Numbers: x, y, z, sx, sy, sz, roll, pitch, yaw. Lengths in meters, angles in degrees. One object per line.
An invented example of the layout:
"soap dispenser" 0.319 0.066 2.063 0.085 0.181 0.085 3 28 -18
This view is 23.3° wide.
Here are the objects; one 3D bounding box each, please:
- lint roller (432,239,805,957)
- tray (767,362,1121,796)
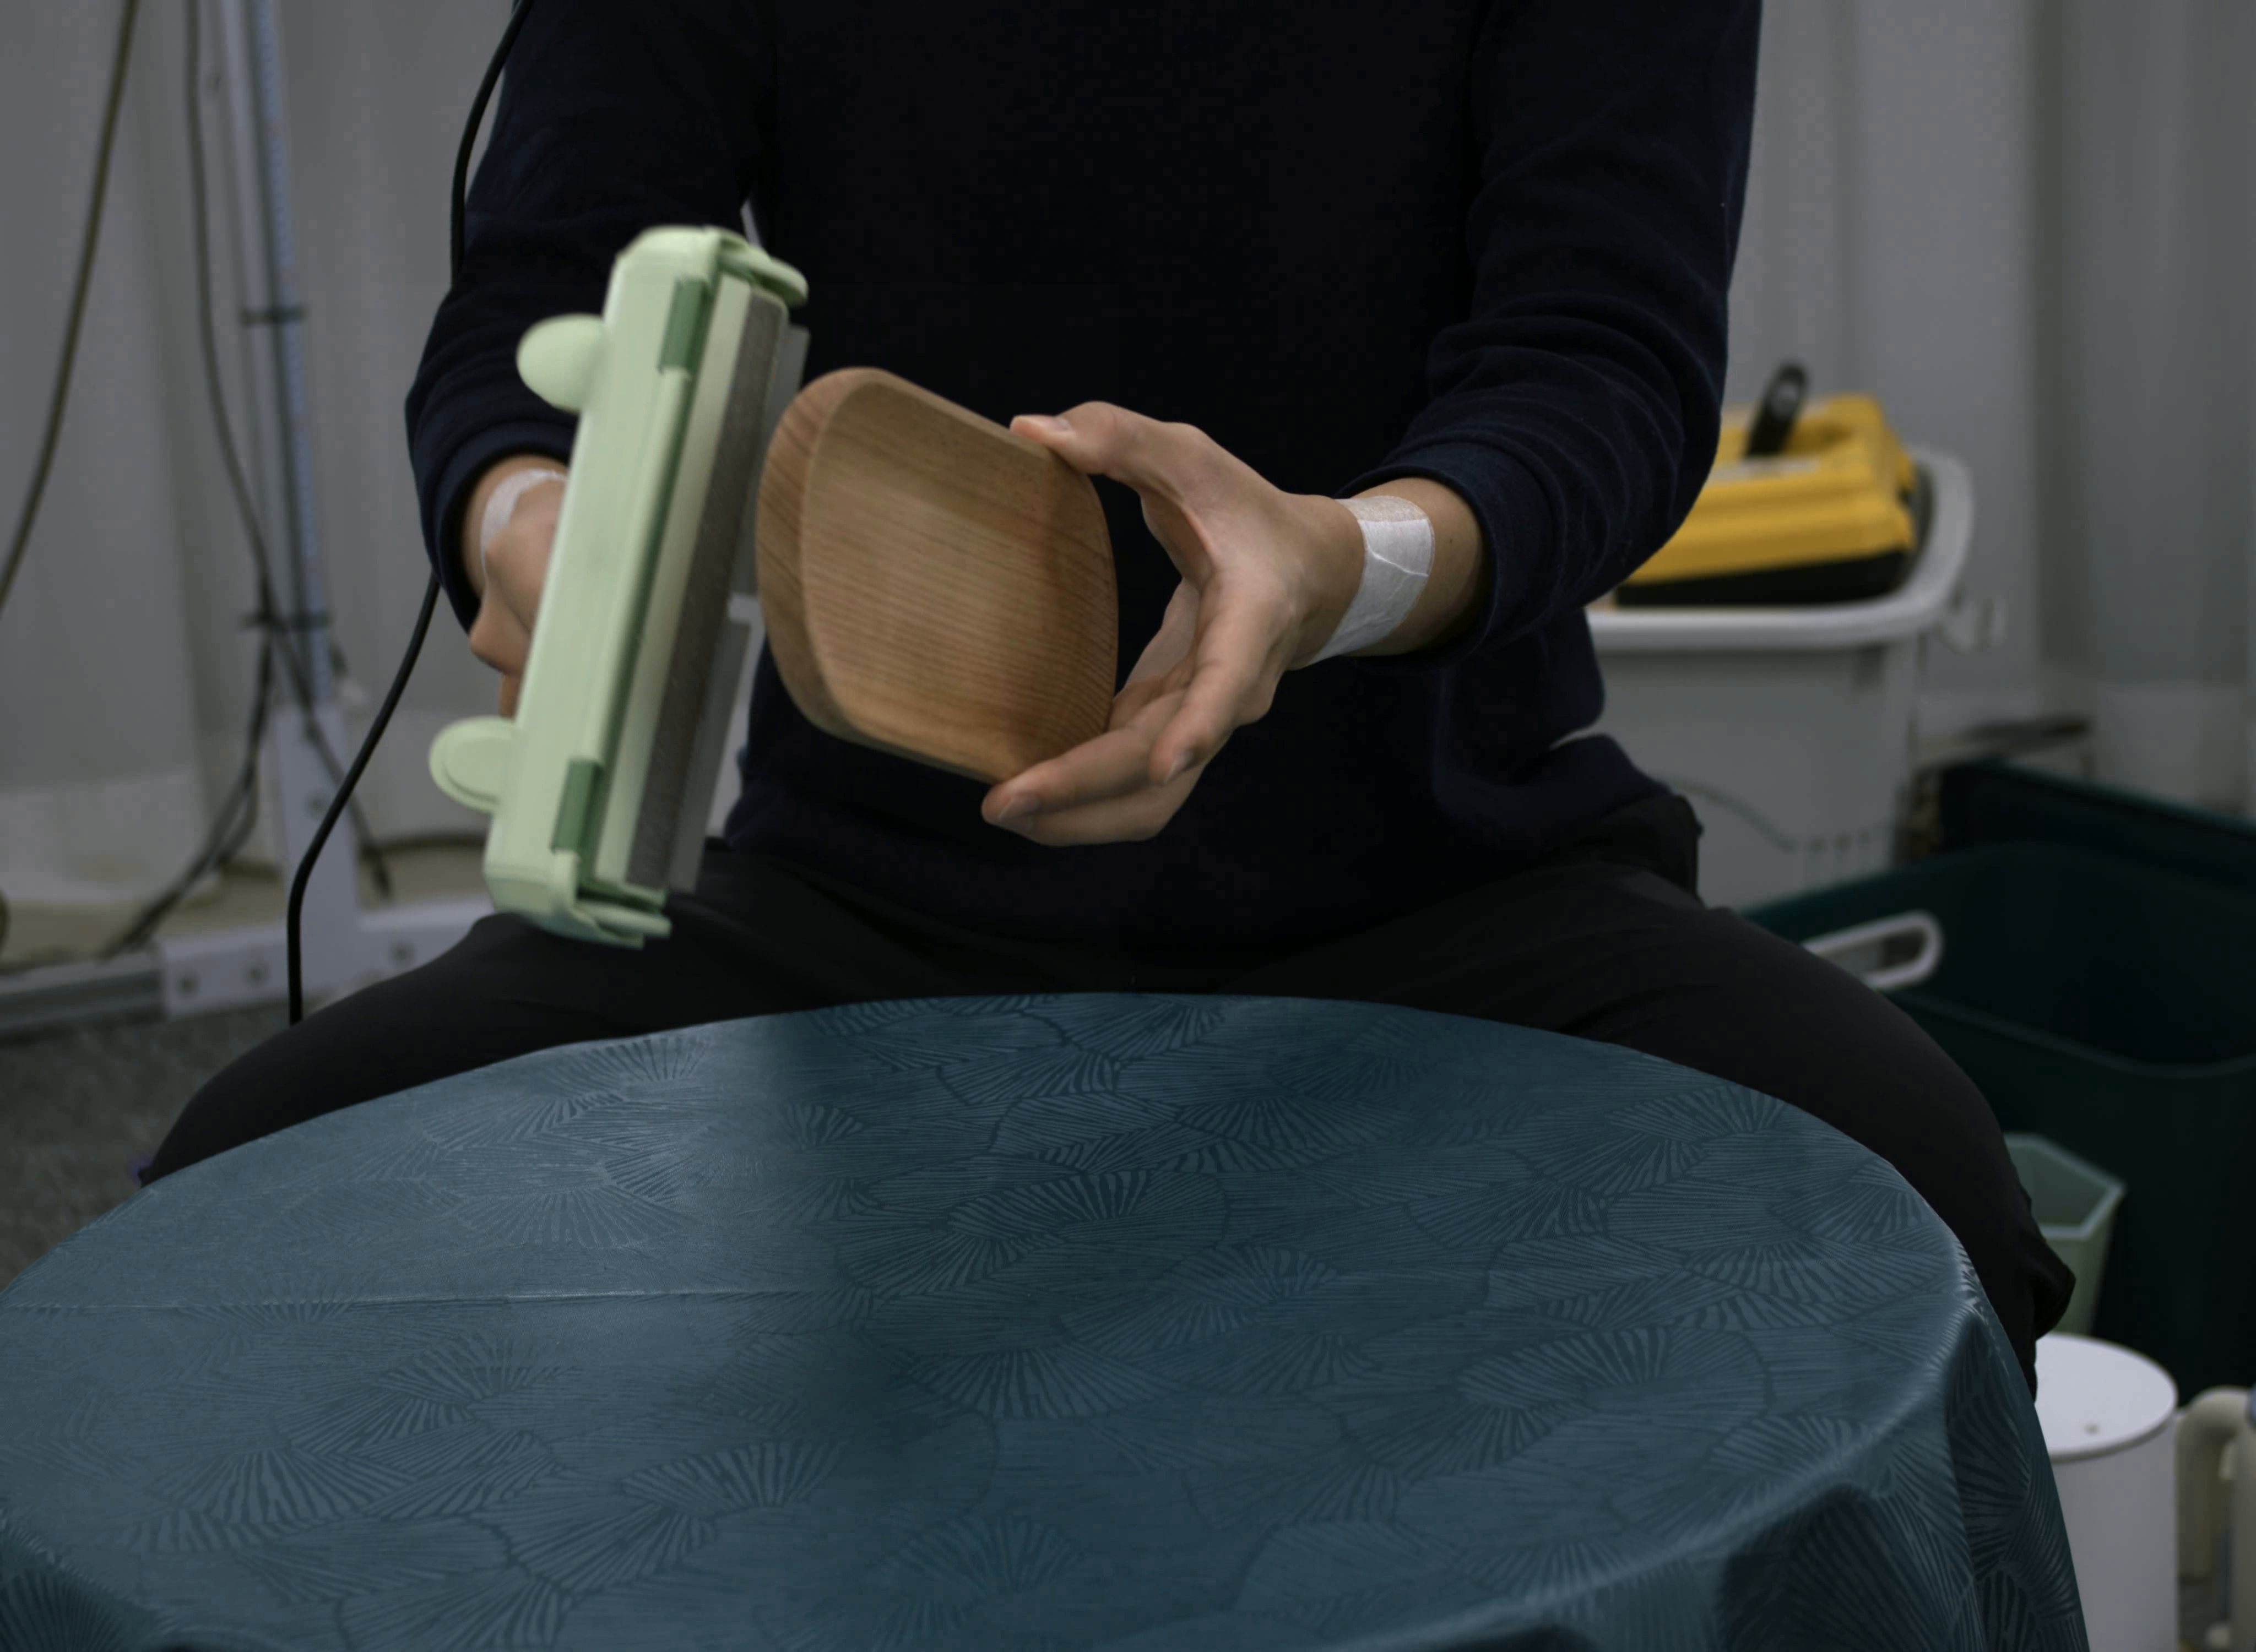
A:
"lint roller" -0.156 -0.061 1.574 0.081 0.200 0.183 15 -9 -16
"tray" -0.048 -0.066 1.528 0.020 0.102 0.230 0 -6 19
